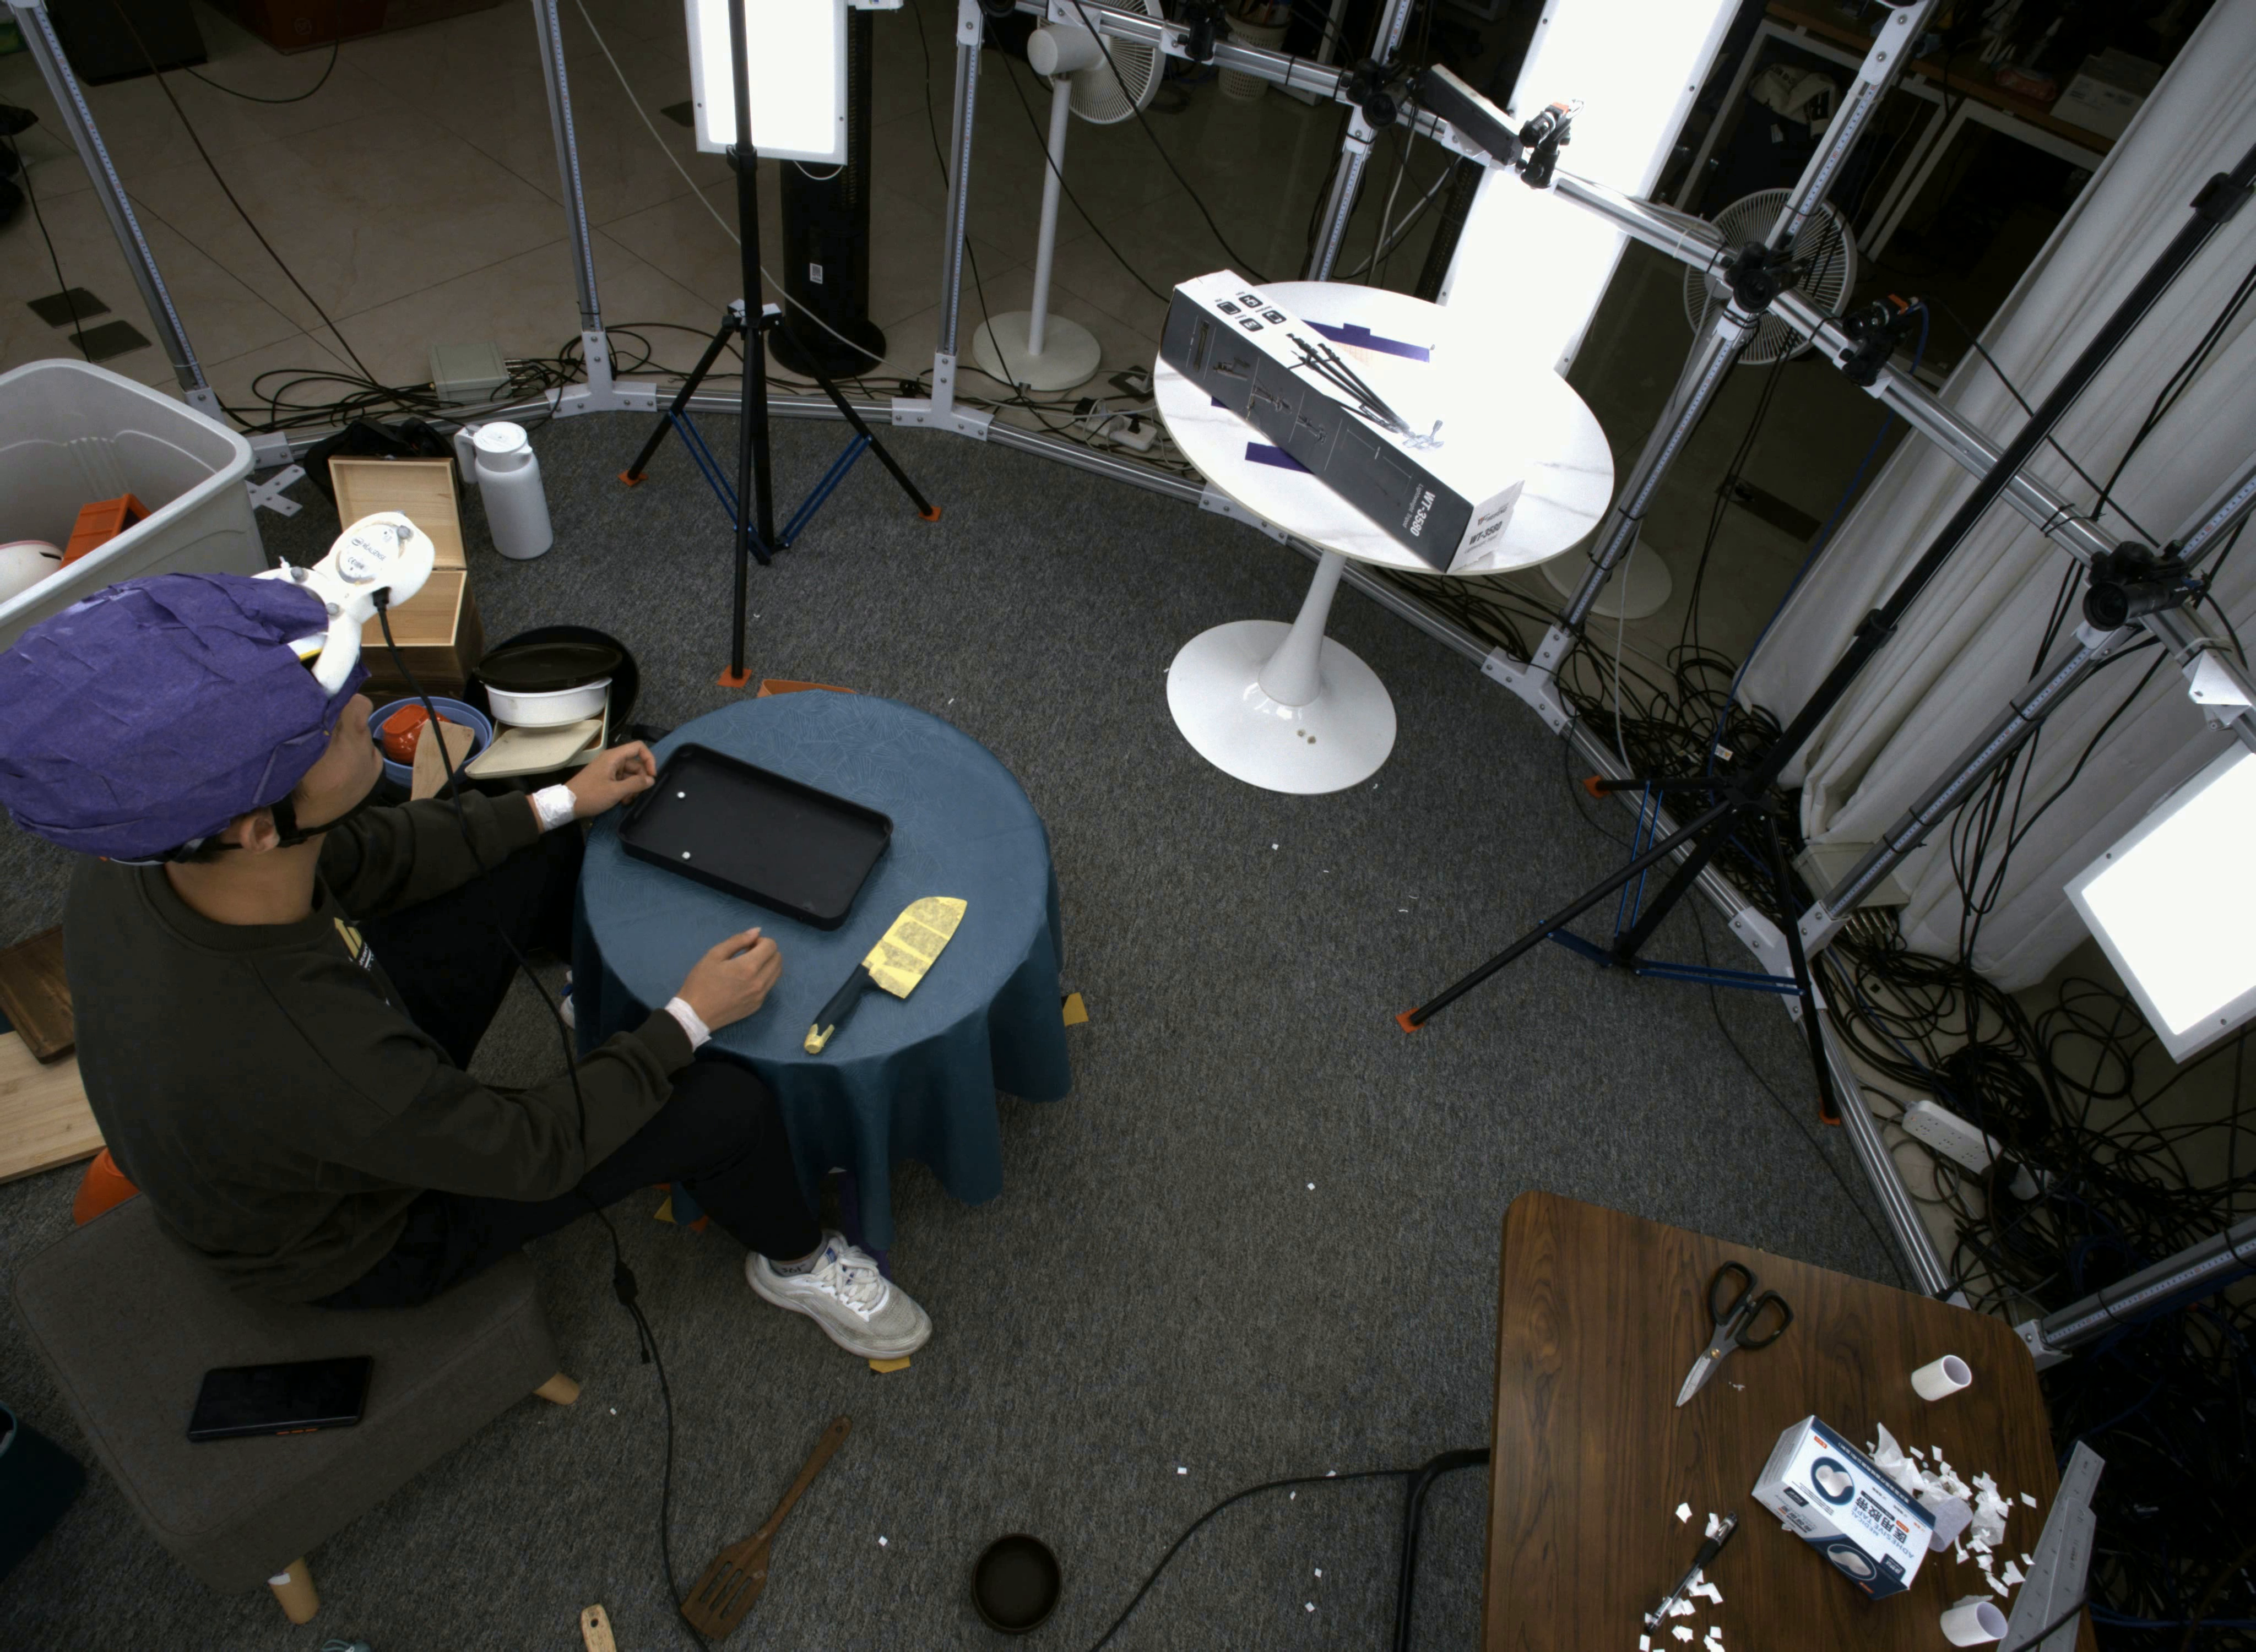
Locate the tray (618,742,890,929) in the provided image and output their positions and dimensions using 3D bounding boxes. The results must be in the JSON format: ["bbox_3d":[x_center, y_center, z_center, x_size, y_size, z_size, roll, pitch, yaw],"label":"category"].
[{"bbox_3d":[-0.487,0.008,1.690,0.315,0.038,0.182,20,53,0],"label":"tray"}]

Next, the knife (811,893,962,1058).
[{"bbox_3d":[-0.296,0.180,1.625,0.079,0.028,0.288,29,52,10],"label":"knife"}]
